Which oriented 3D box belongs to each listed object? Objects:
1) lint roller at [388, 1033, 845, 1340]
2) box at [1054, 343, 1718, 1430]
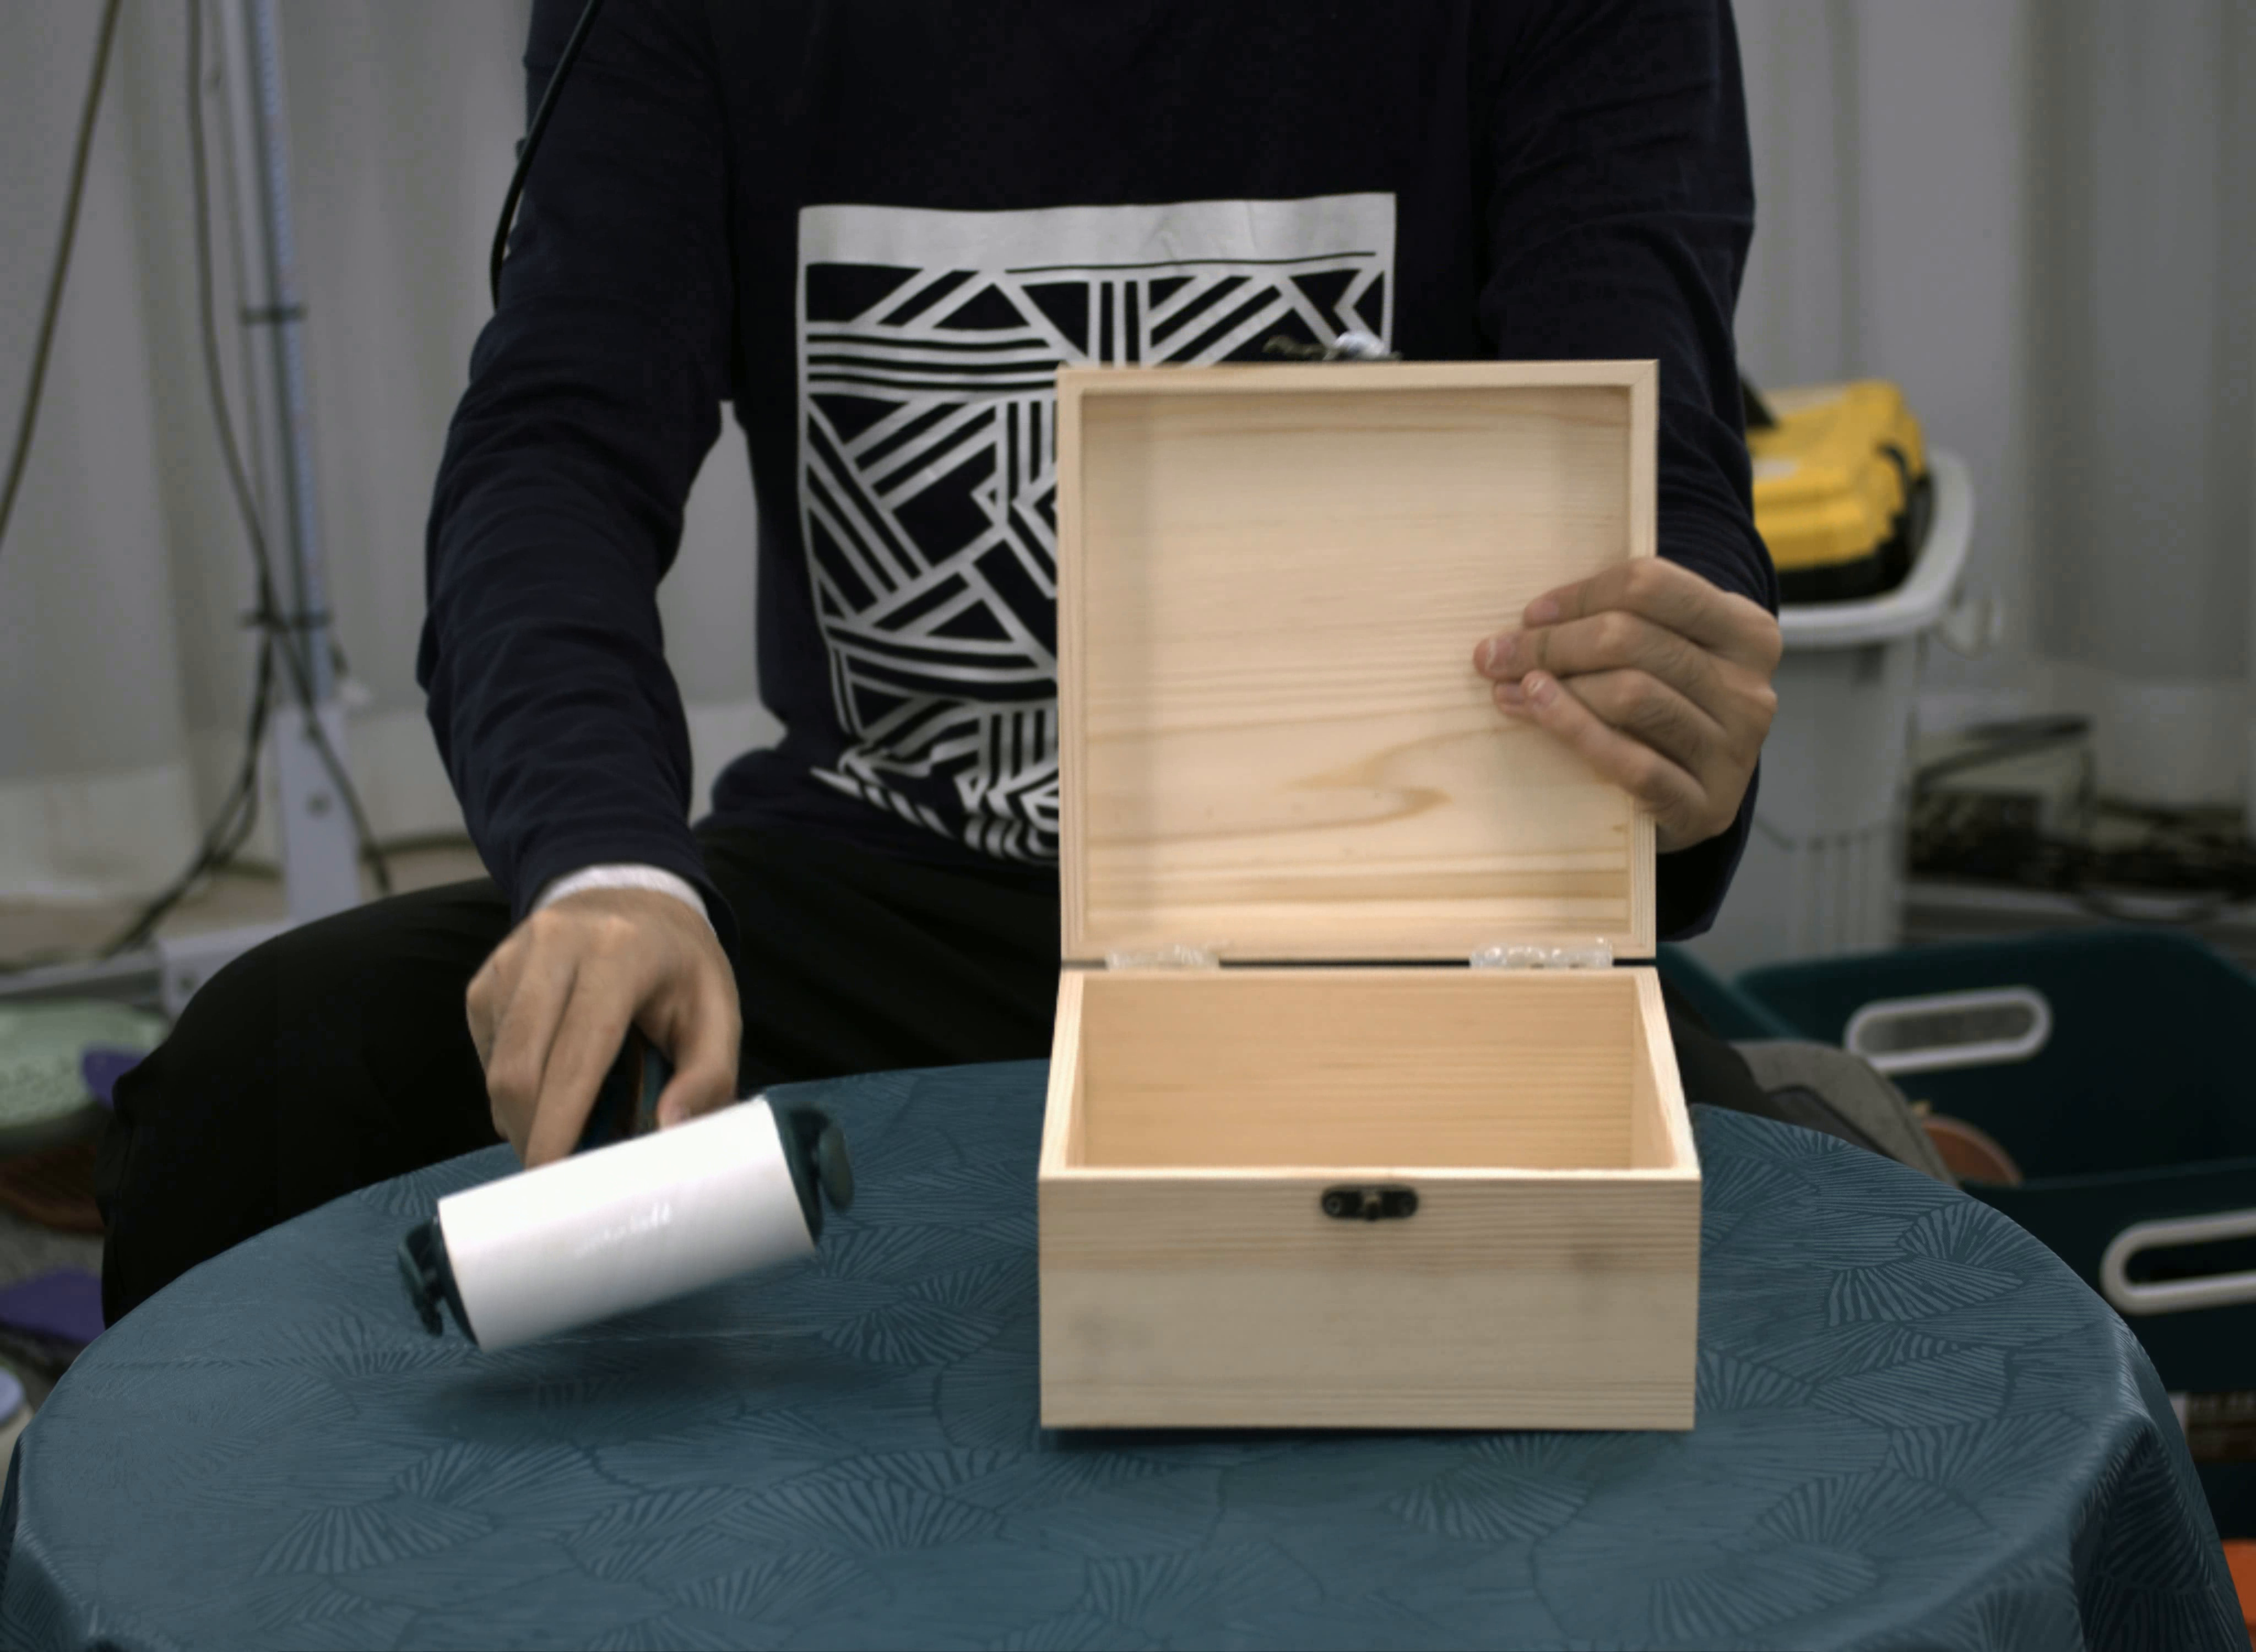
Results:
[{"bbox_3d":[-0.157,0.084,1.626,0.134,0.048,0.182,-18,25,-3],"label":"lint roller"},{"bbox_3d":[0.070,0.008,1.579,0.181,0.252,0.267,0,17,0],"label":"box"}]
